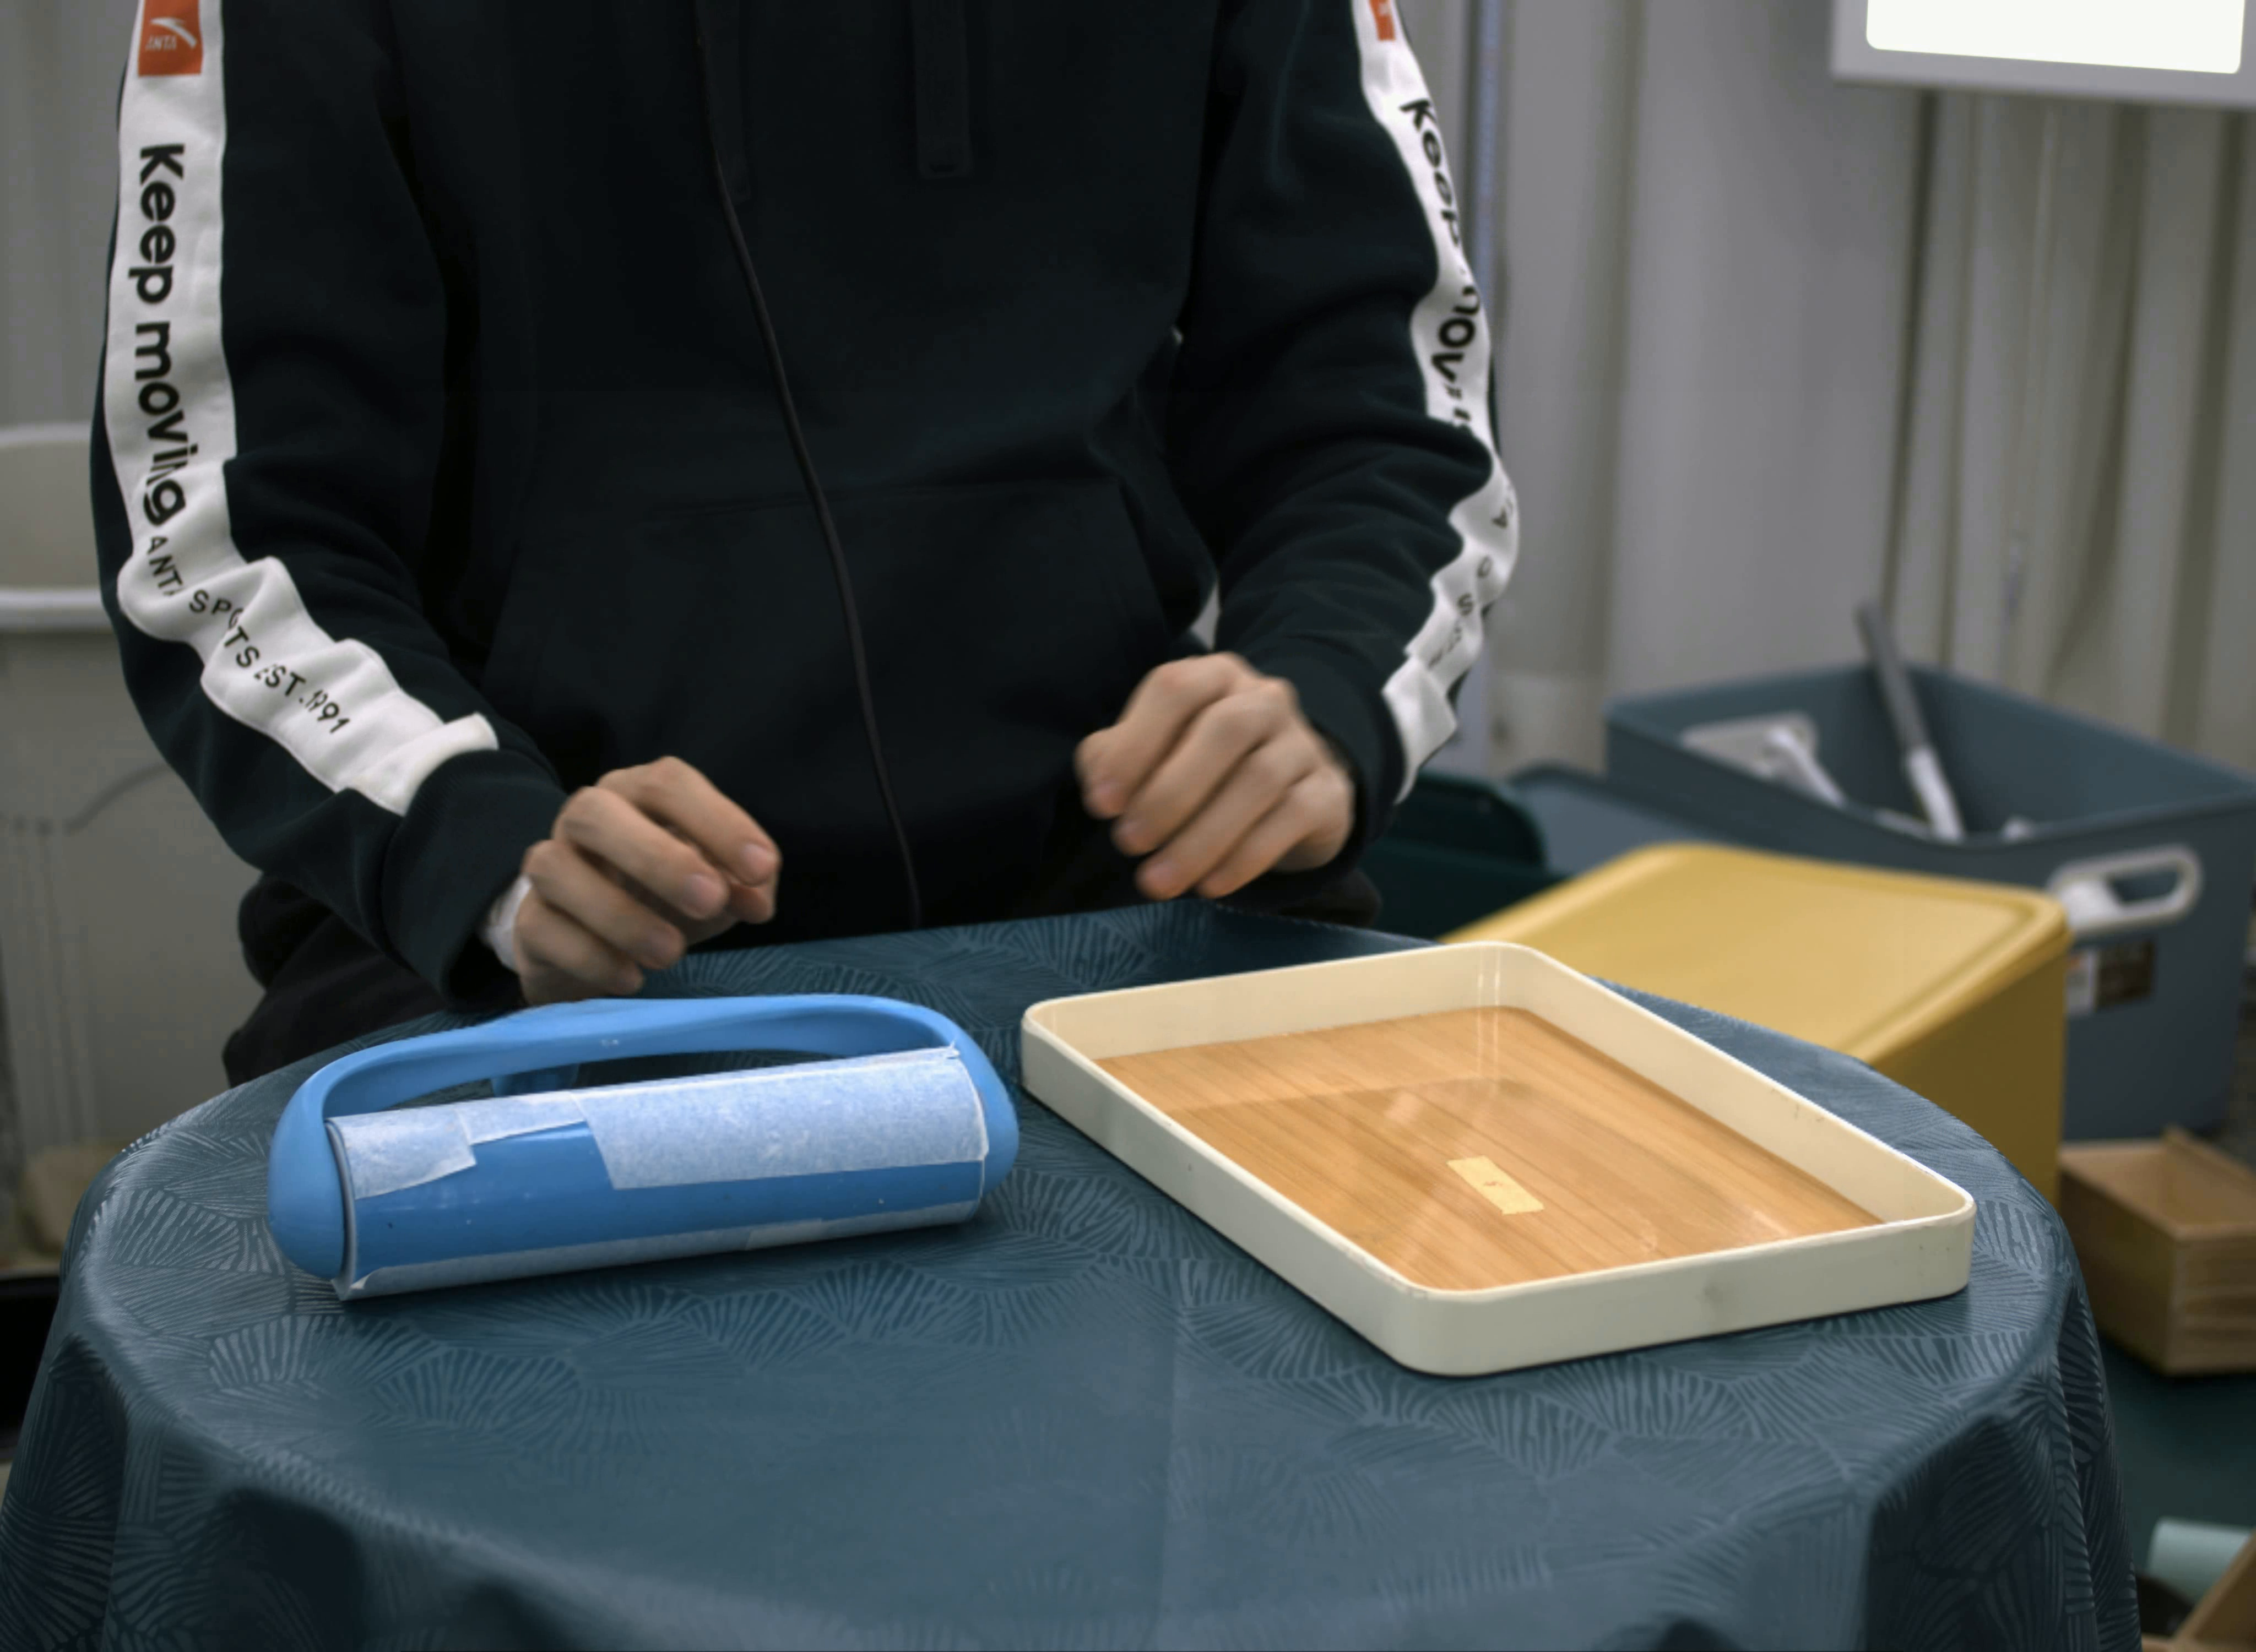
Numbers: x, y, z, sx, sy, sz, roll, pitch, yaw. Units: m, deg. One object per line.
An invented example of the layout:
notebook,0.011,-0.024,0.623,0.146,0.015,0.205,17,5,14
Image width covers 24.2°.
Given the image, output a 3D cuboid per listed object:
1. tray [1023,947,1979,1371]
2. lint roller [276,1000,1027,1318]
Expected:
tray,0.107,0.098,1.626,0.192,0.027,0.296,-6,17,-24
lint roller,-0.163,0.088,1.601,0.229,0.068,0.178,-9,19,-24
